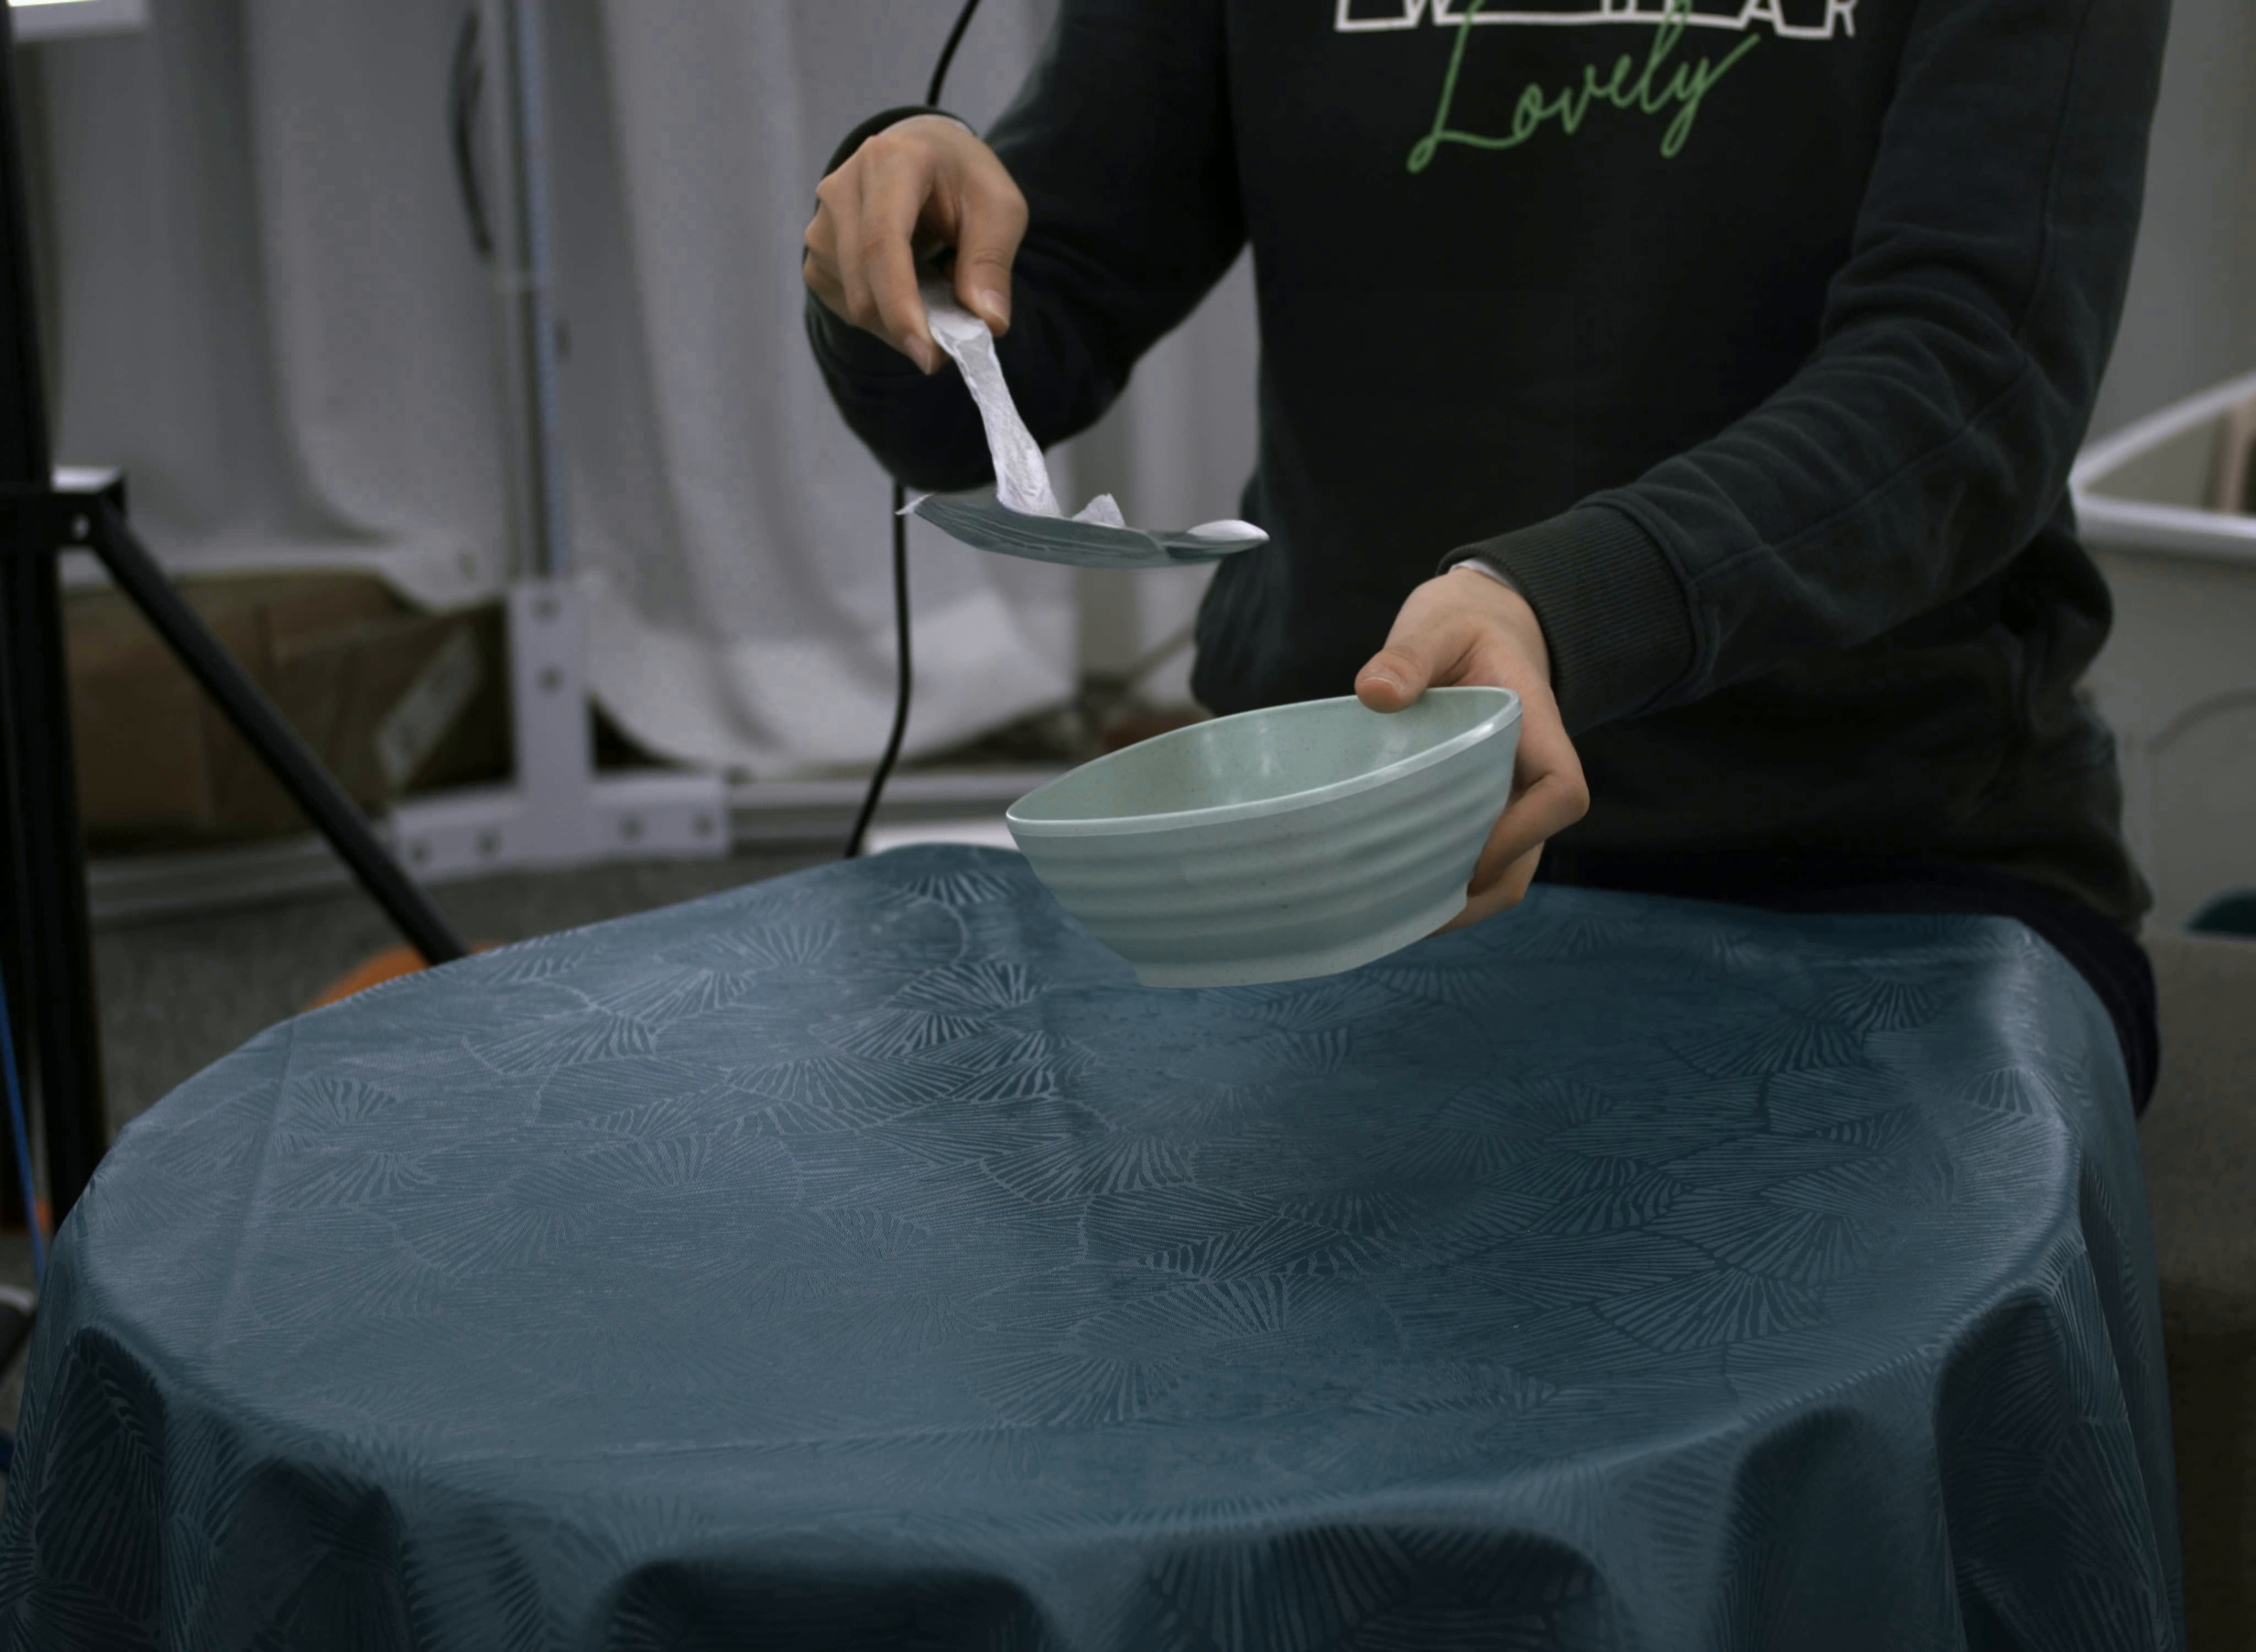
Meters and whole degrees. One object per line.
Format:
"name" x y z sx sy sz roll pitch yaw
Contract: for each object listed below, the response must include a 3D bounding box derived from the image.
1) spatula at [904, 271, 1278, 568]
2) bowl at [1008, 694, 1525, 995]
"spatula" -0.036 -0.135 1.634 0.097 0.045 0.369 5 21 -13
"bowl" 0.044 0.008 1.510 0.151 0.058 0.152 -12 11 1
